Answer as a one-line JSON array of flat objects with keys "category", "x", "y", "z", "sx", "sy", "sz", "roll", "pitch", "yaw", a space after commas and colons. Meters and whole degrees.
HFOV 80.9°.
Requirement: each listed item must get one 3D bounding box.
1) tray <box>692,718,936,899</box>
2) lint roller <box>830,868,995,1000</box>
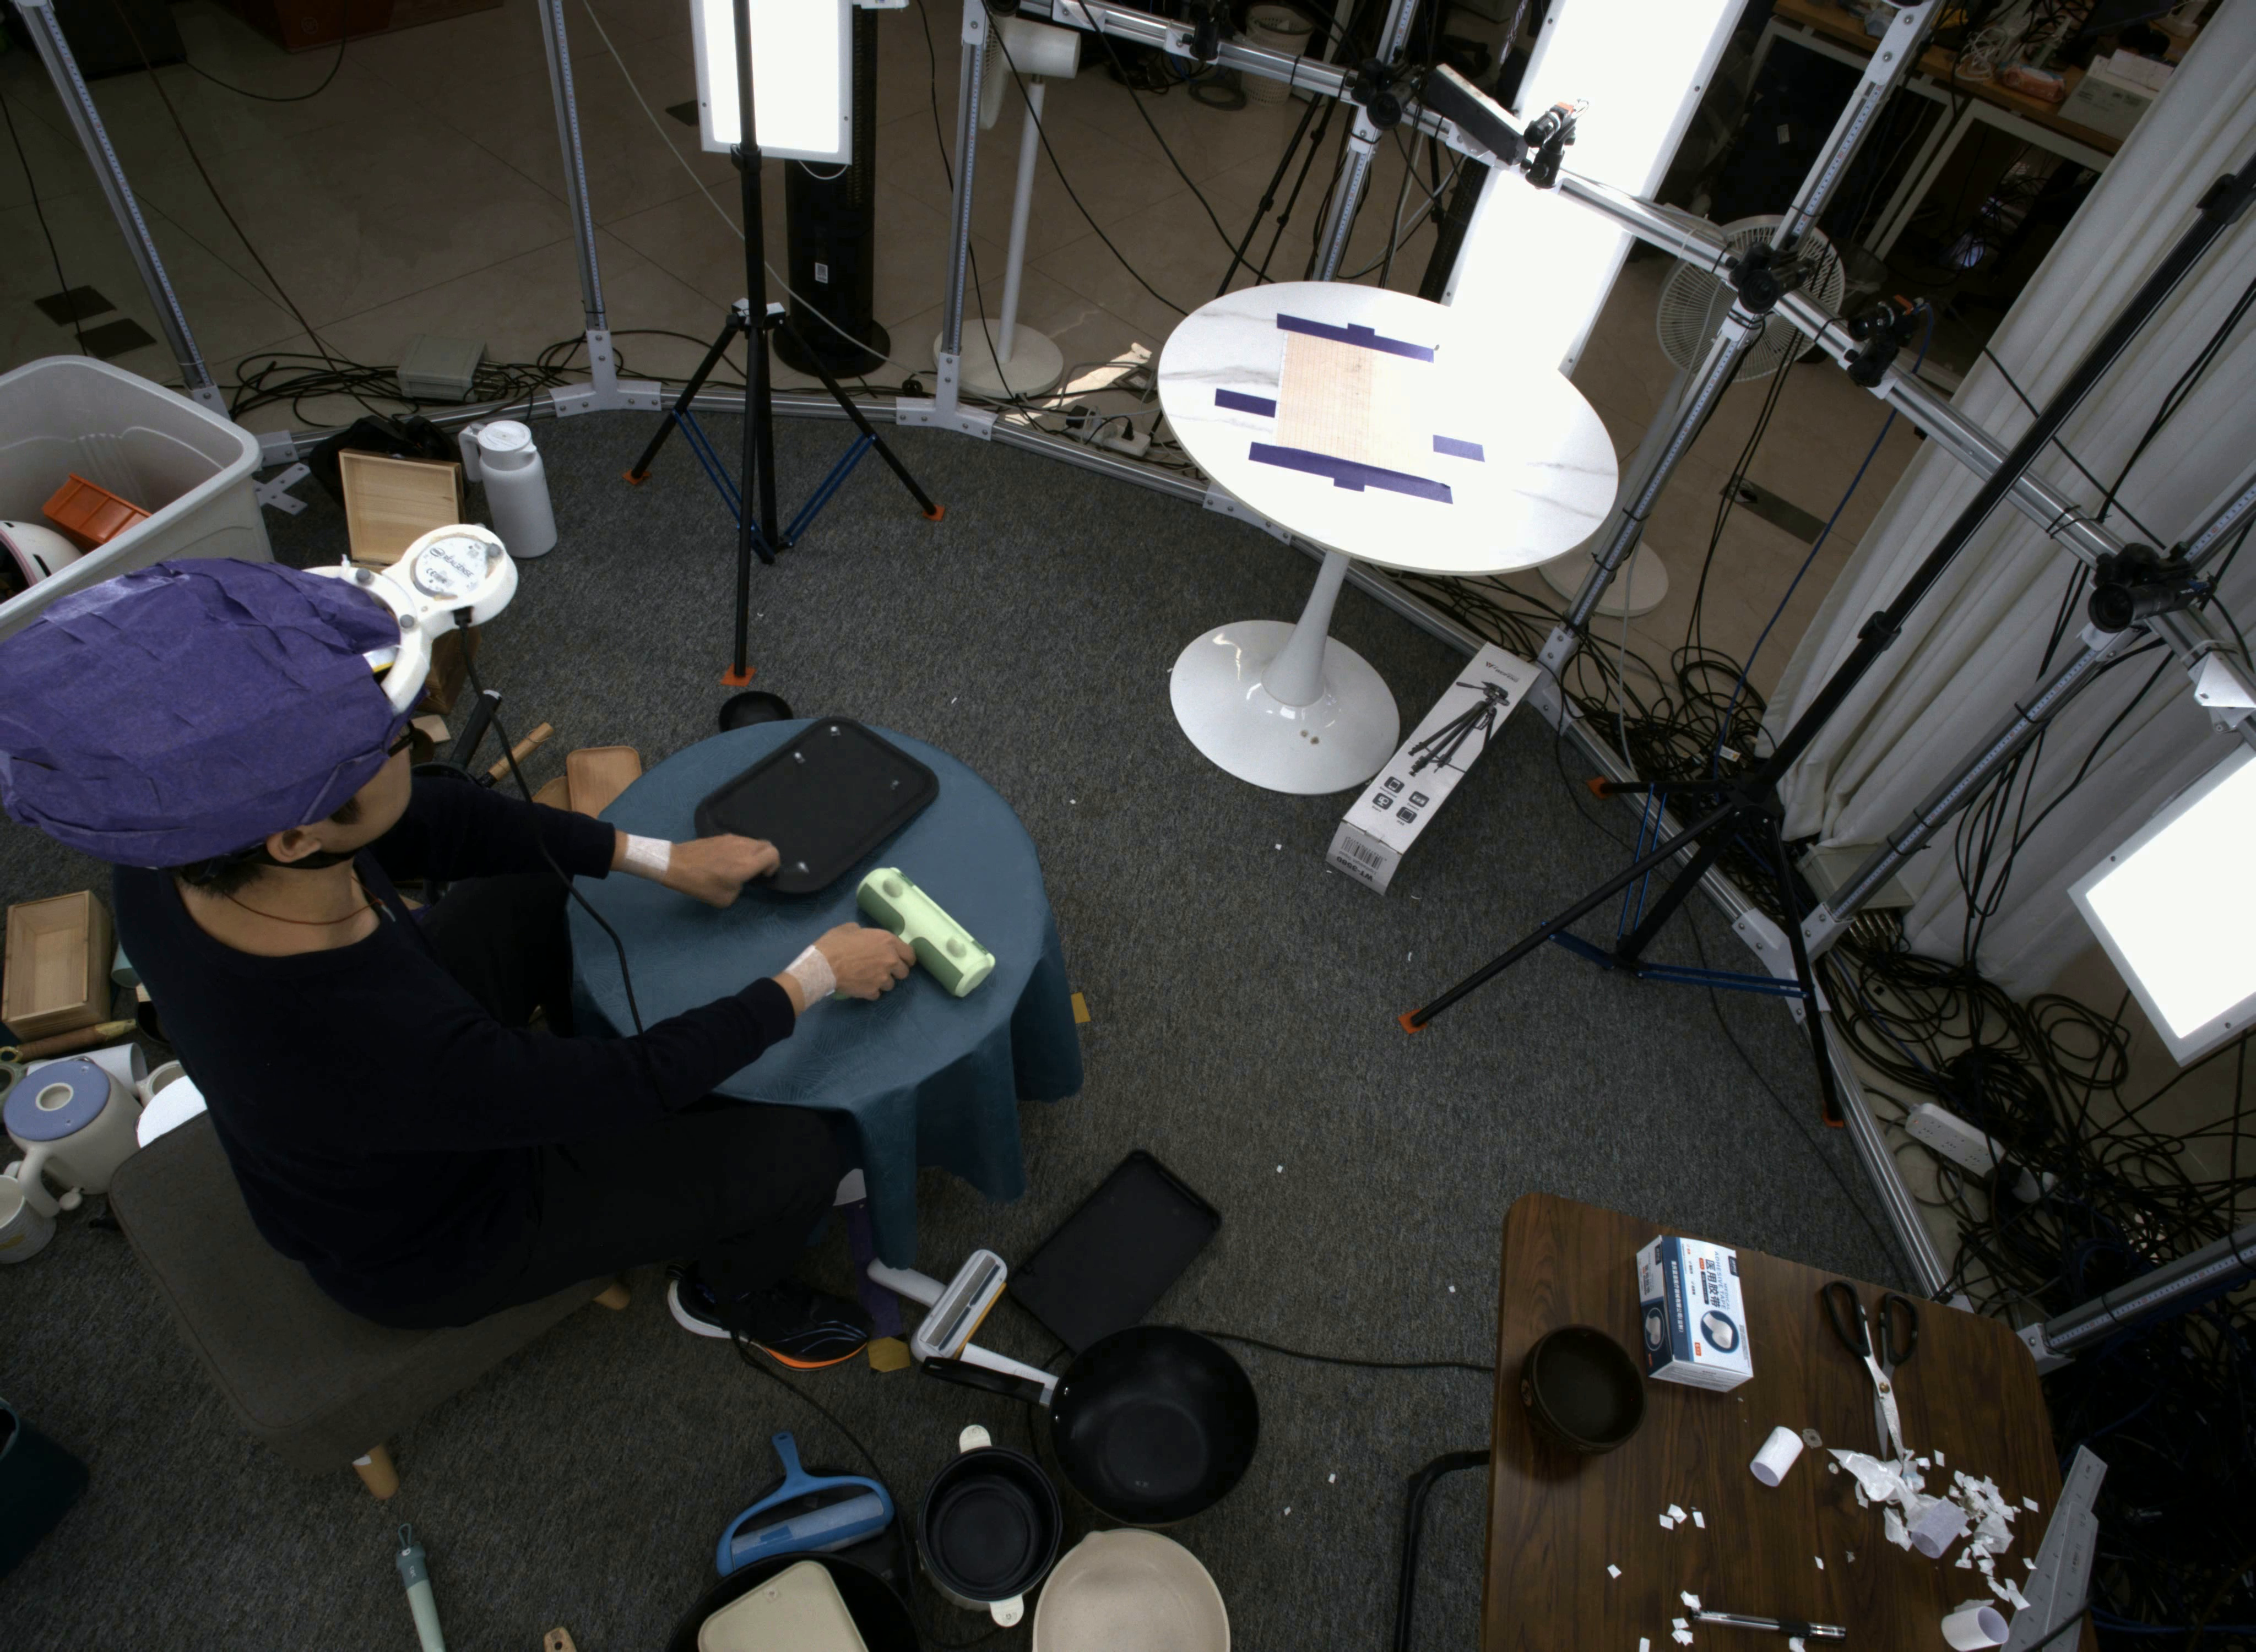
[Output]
[{"category": "tray", "x": -0.413, "y": -0.028, "z": 1.714, "sx": 0.207, "sy": 0.010, "sz": 0.325, "roll": 32, "pitch": 46, "yaw": 11}, {"category": "lint roller", "x": -0.286, "y": 0.142, "z": 1.578, "sx": 0.194, "sy": 0.083, "sz": 0.184, "roll": 39, "pitch": 39, "yaw": 15}]
